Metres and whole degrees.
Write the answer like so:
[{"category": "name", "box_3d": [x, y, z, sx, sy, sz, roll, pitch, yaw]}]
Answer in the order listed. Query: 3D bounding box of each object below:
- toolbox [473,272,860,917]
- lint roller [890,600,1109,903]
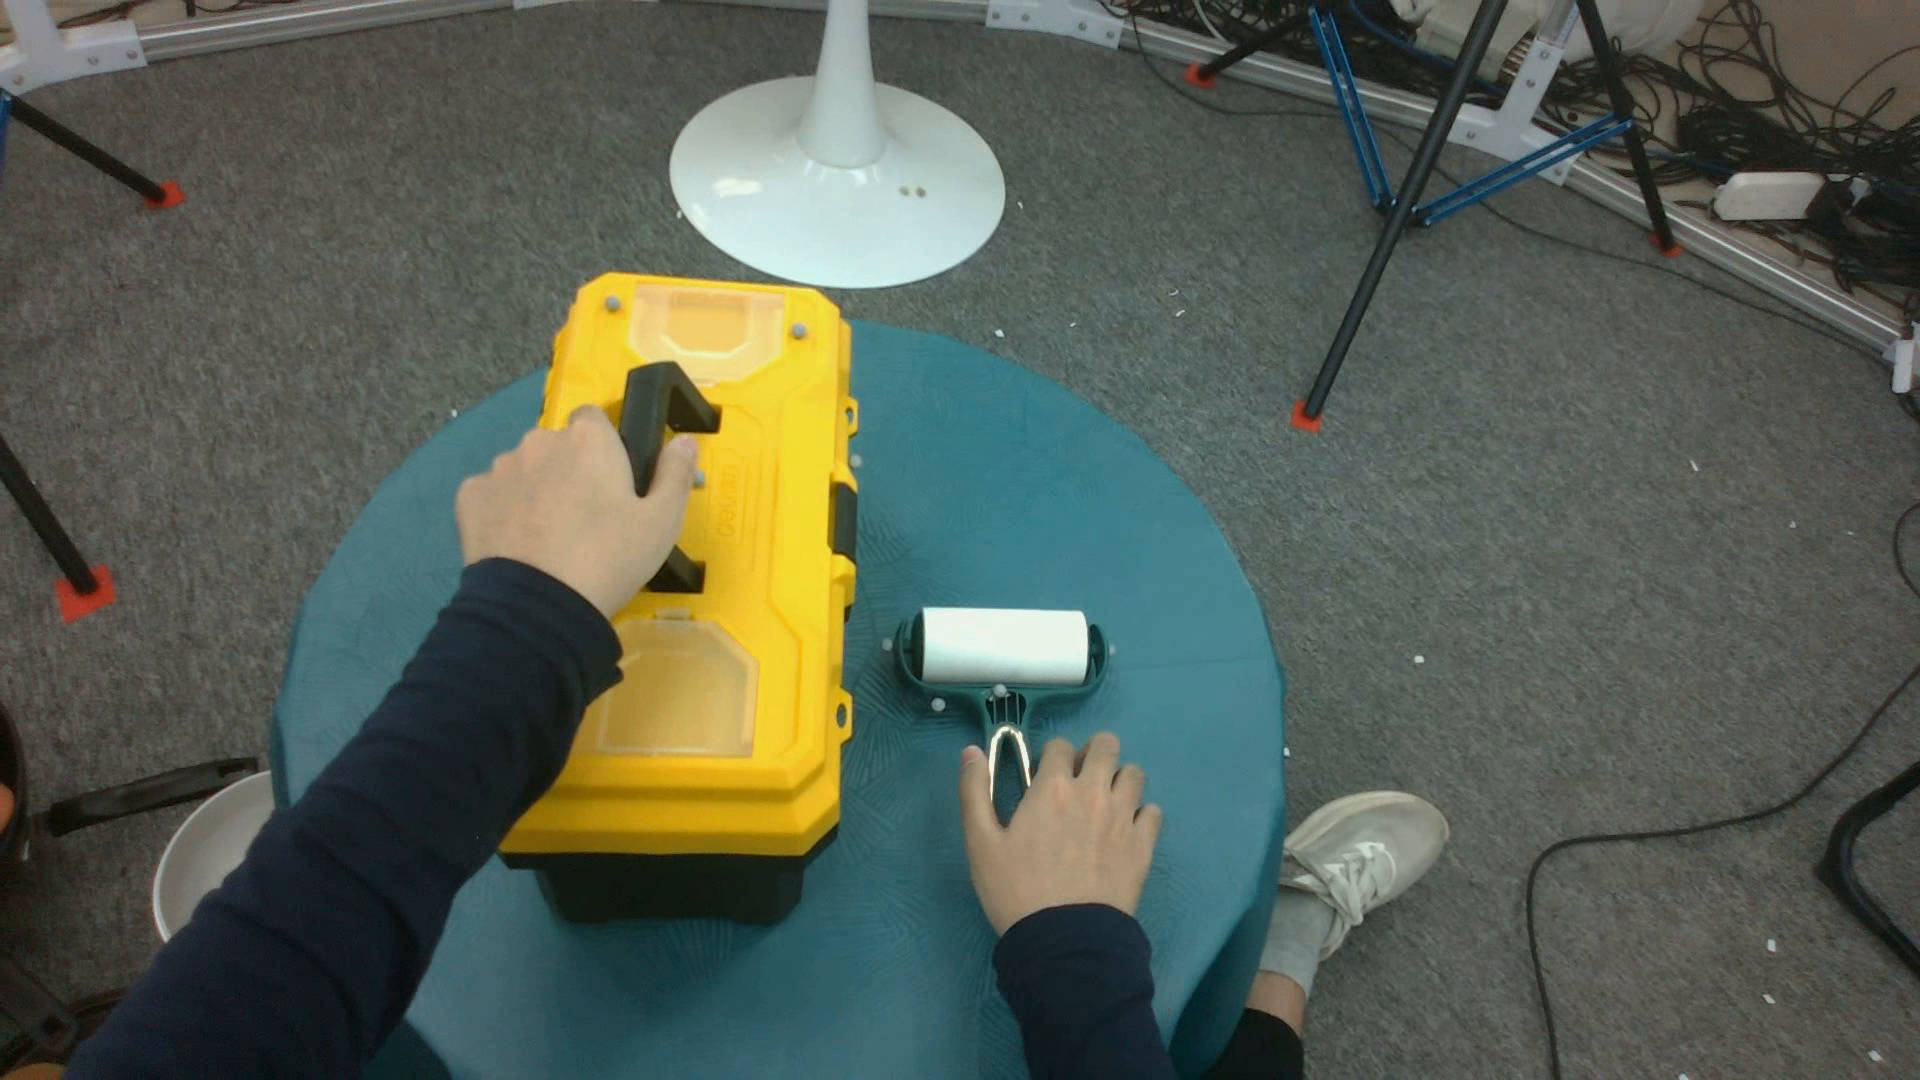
[{"category": "toolbox", "box_3d": [-0.148, 0.025, 0.762, 0.181, 0.172, 0.353, 2, 52, -7]}, {"category": "lint roller", "box_3d": [0.027, 0.116, 0.801, 0.134, 0.048, 0.181, 2, 55, -8]}]
